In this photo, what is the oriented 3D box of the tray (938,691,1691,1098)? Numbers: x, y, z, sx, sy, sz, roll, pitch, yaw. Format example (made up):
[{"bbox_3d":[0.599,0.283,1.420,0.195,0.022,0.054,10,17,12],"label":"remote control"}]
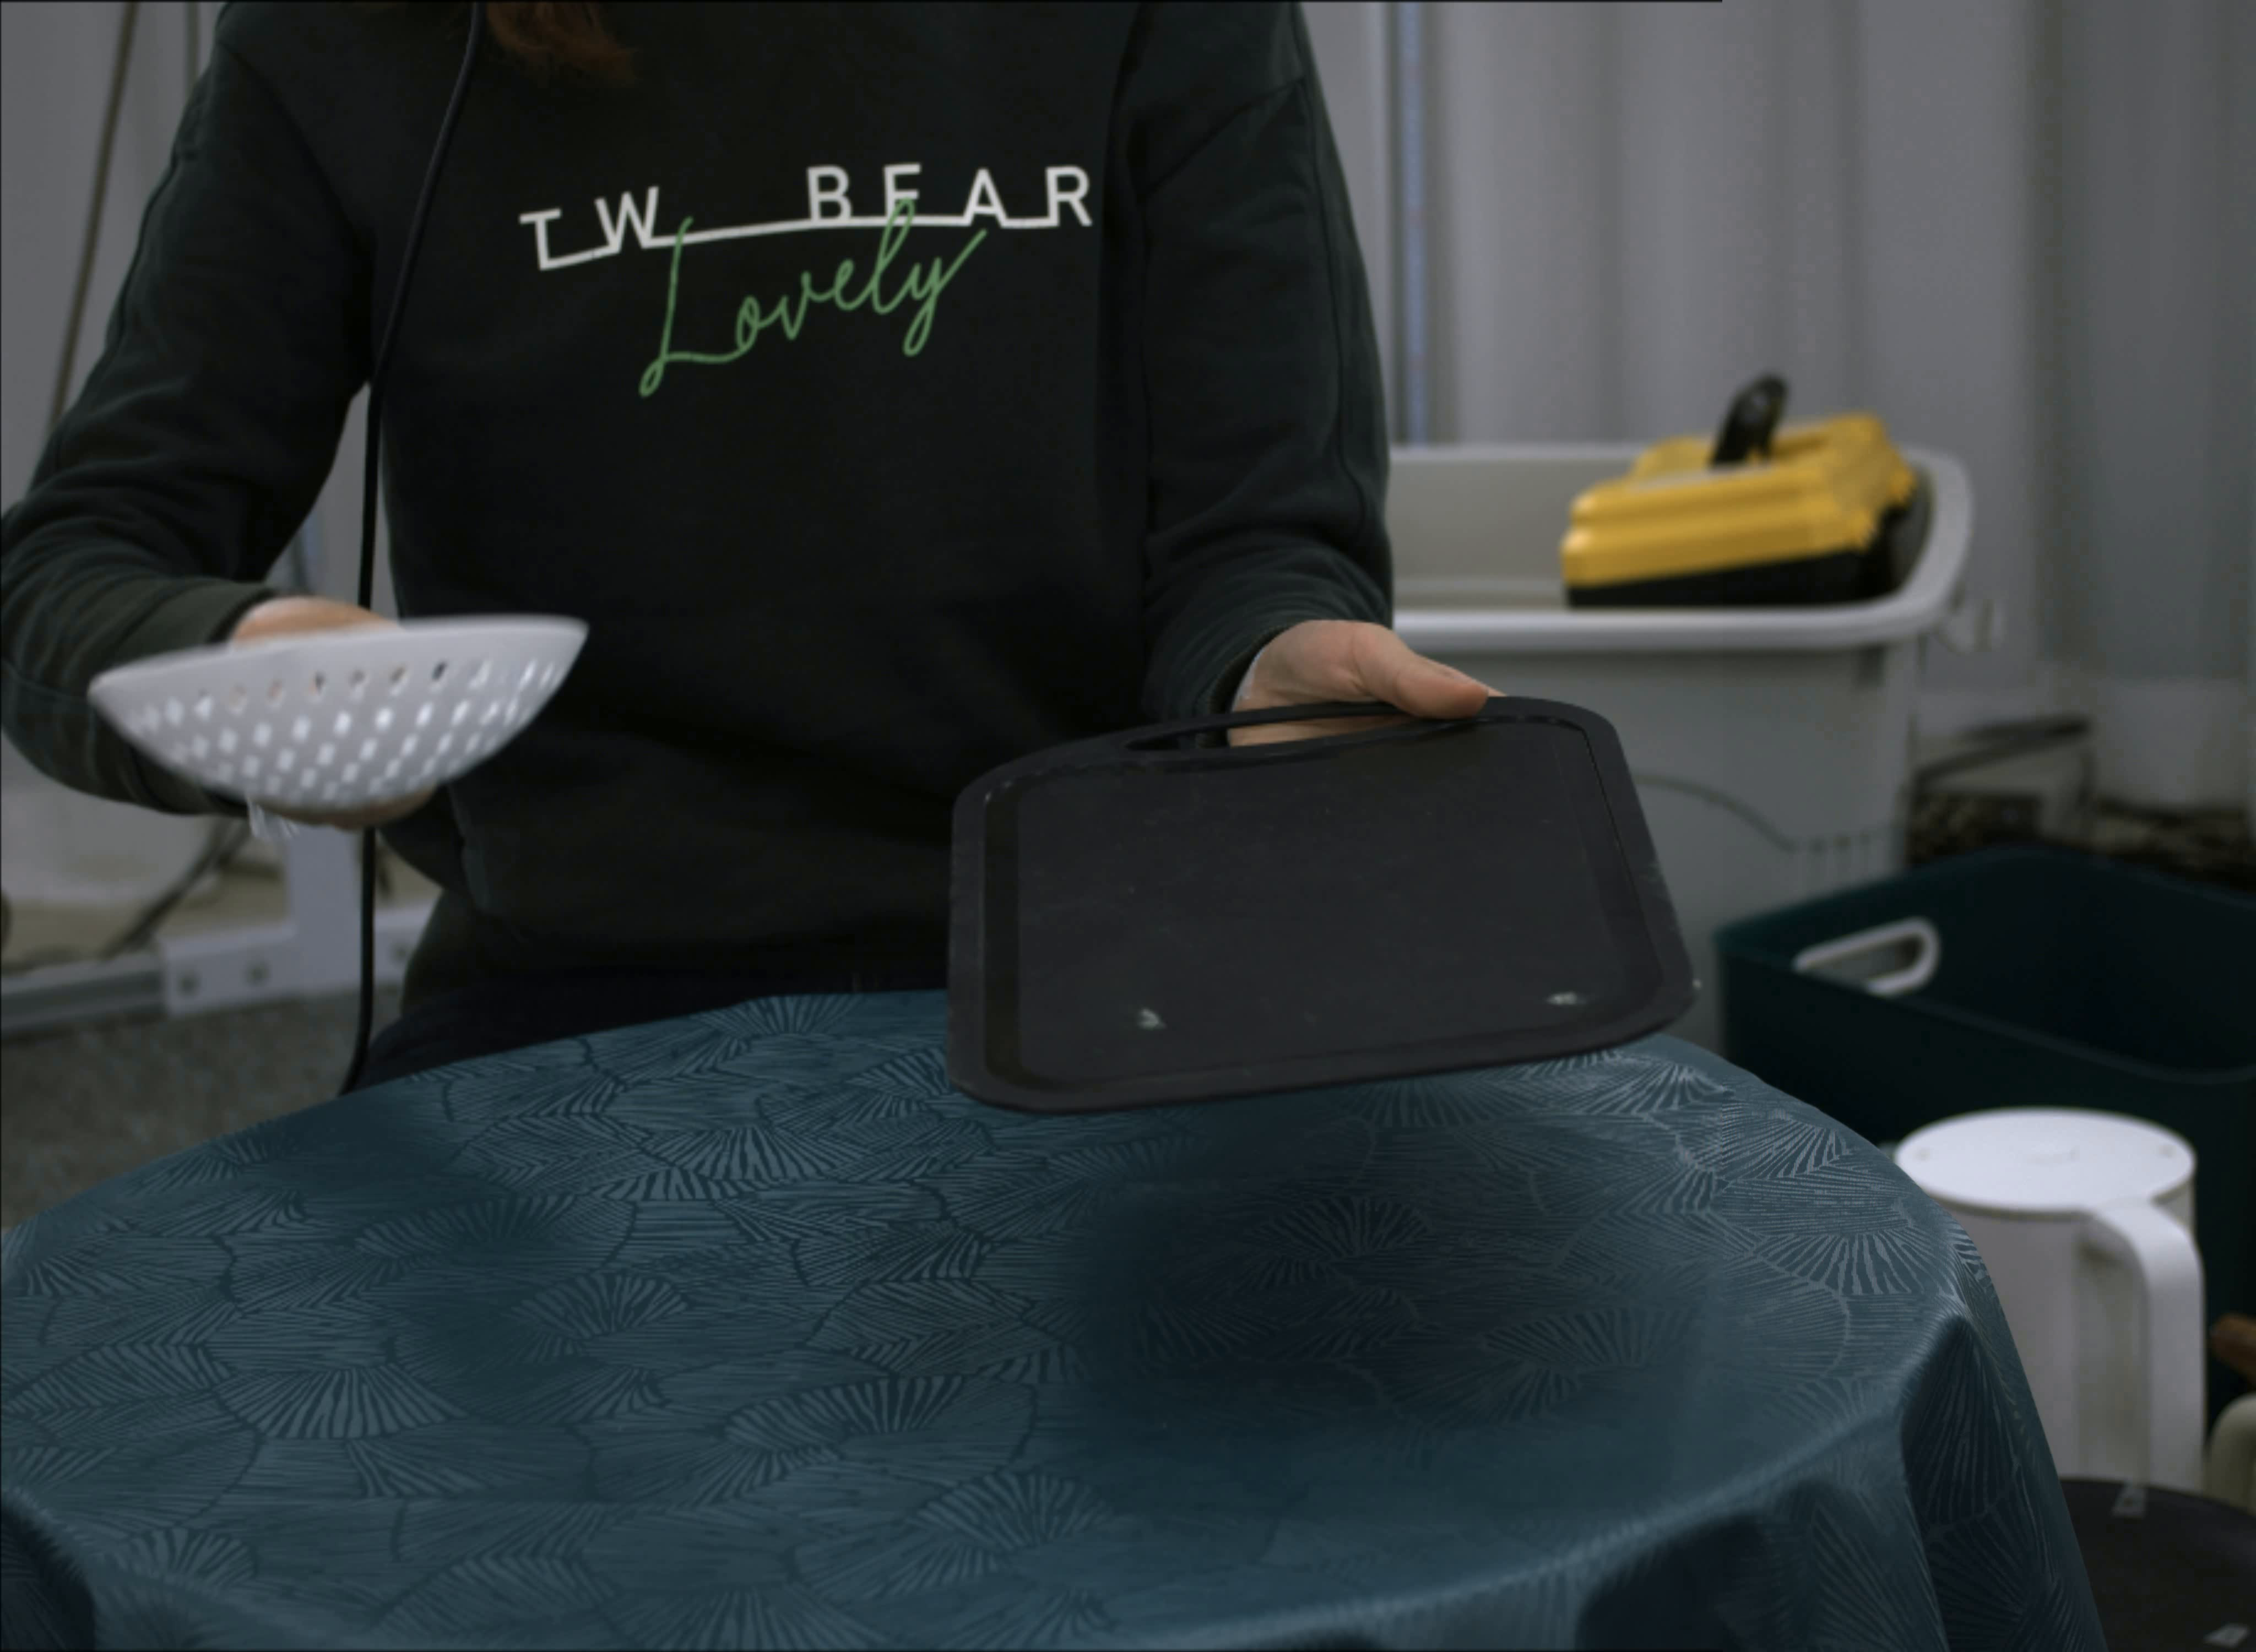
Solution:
[{"bbox_3d":[0.050,0.012,1.621,0.210,0.010,0.328,-6,19,2],"label":"tray"}]

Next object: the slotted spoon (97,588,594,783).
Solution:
[{"bbox_3d":[-0.226,-0.037,1.607,0.135,0.046,0.350,-5,0,-7],"label":"slotted spoon"}]
